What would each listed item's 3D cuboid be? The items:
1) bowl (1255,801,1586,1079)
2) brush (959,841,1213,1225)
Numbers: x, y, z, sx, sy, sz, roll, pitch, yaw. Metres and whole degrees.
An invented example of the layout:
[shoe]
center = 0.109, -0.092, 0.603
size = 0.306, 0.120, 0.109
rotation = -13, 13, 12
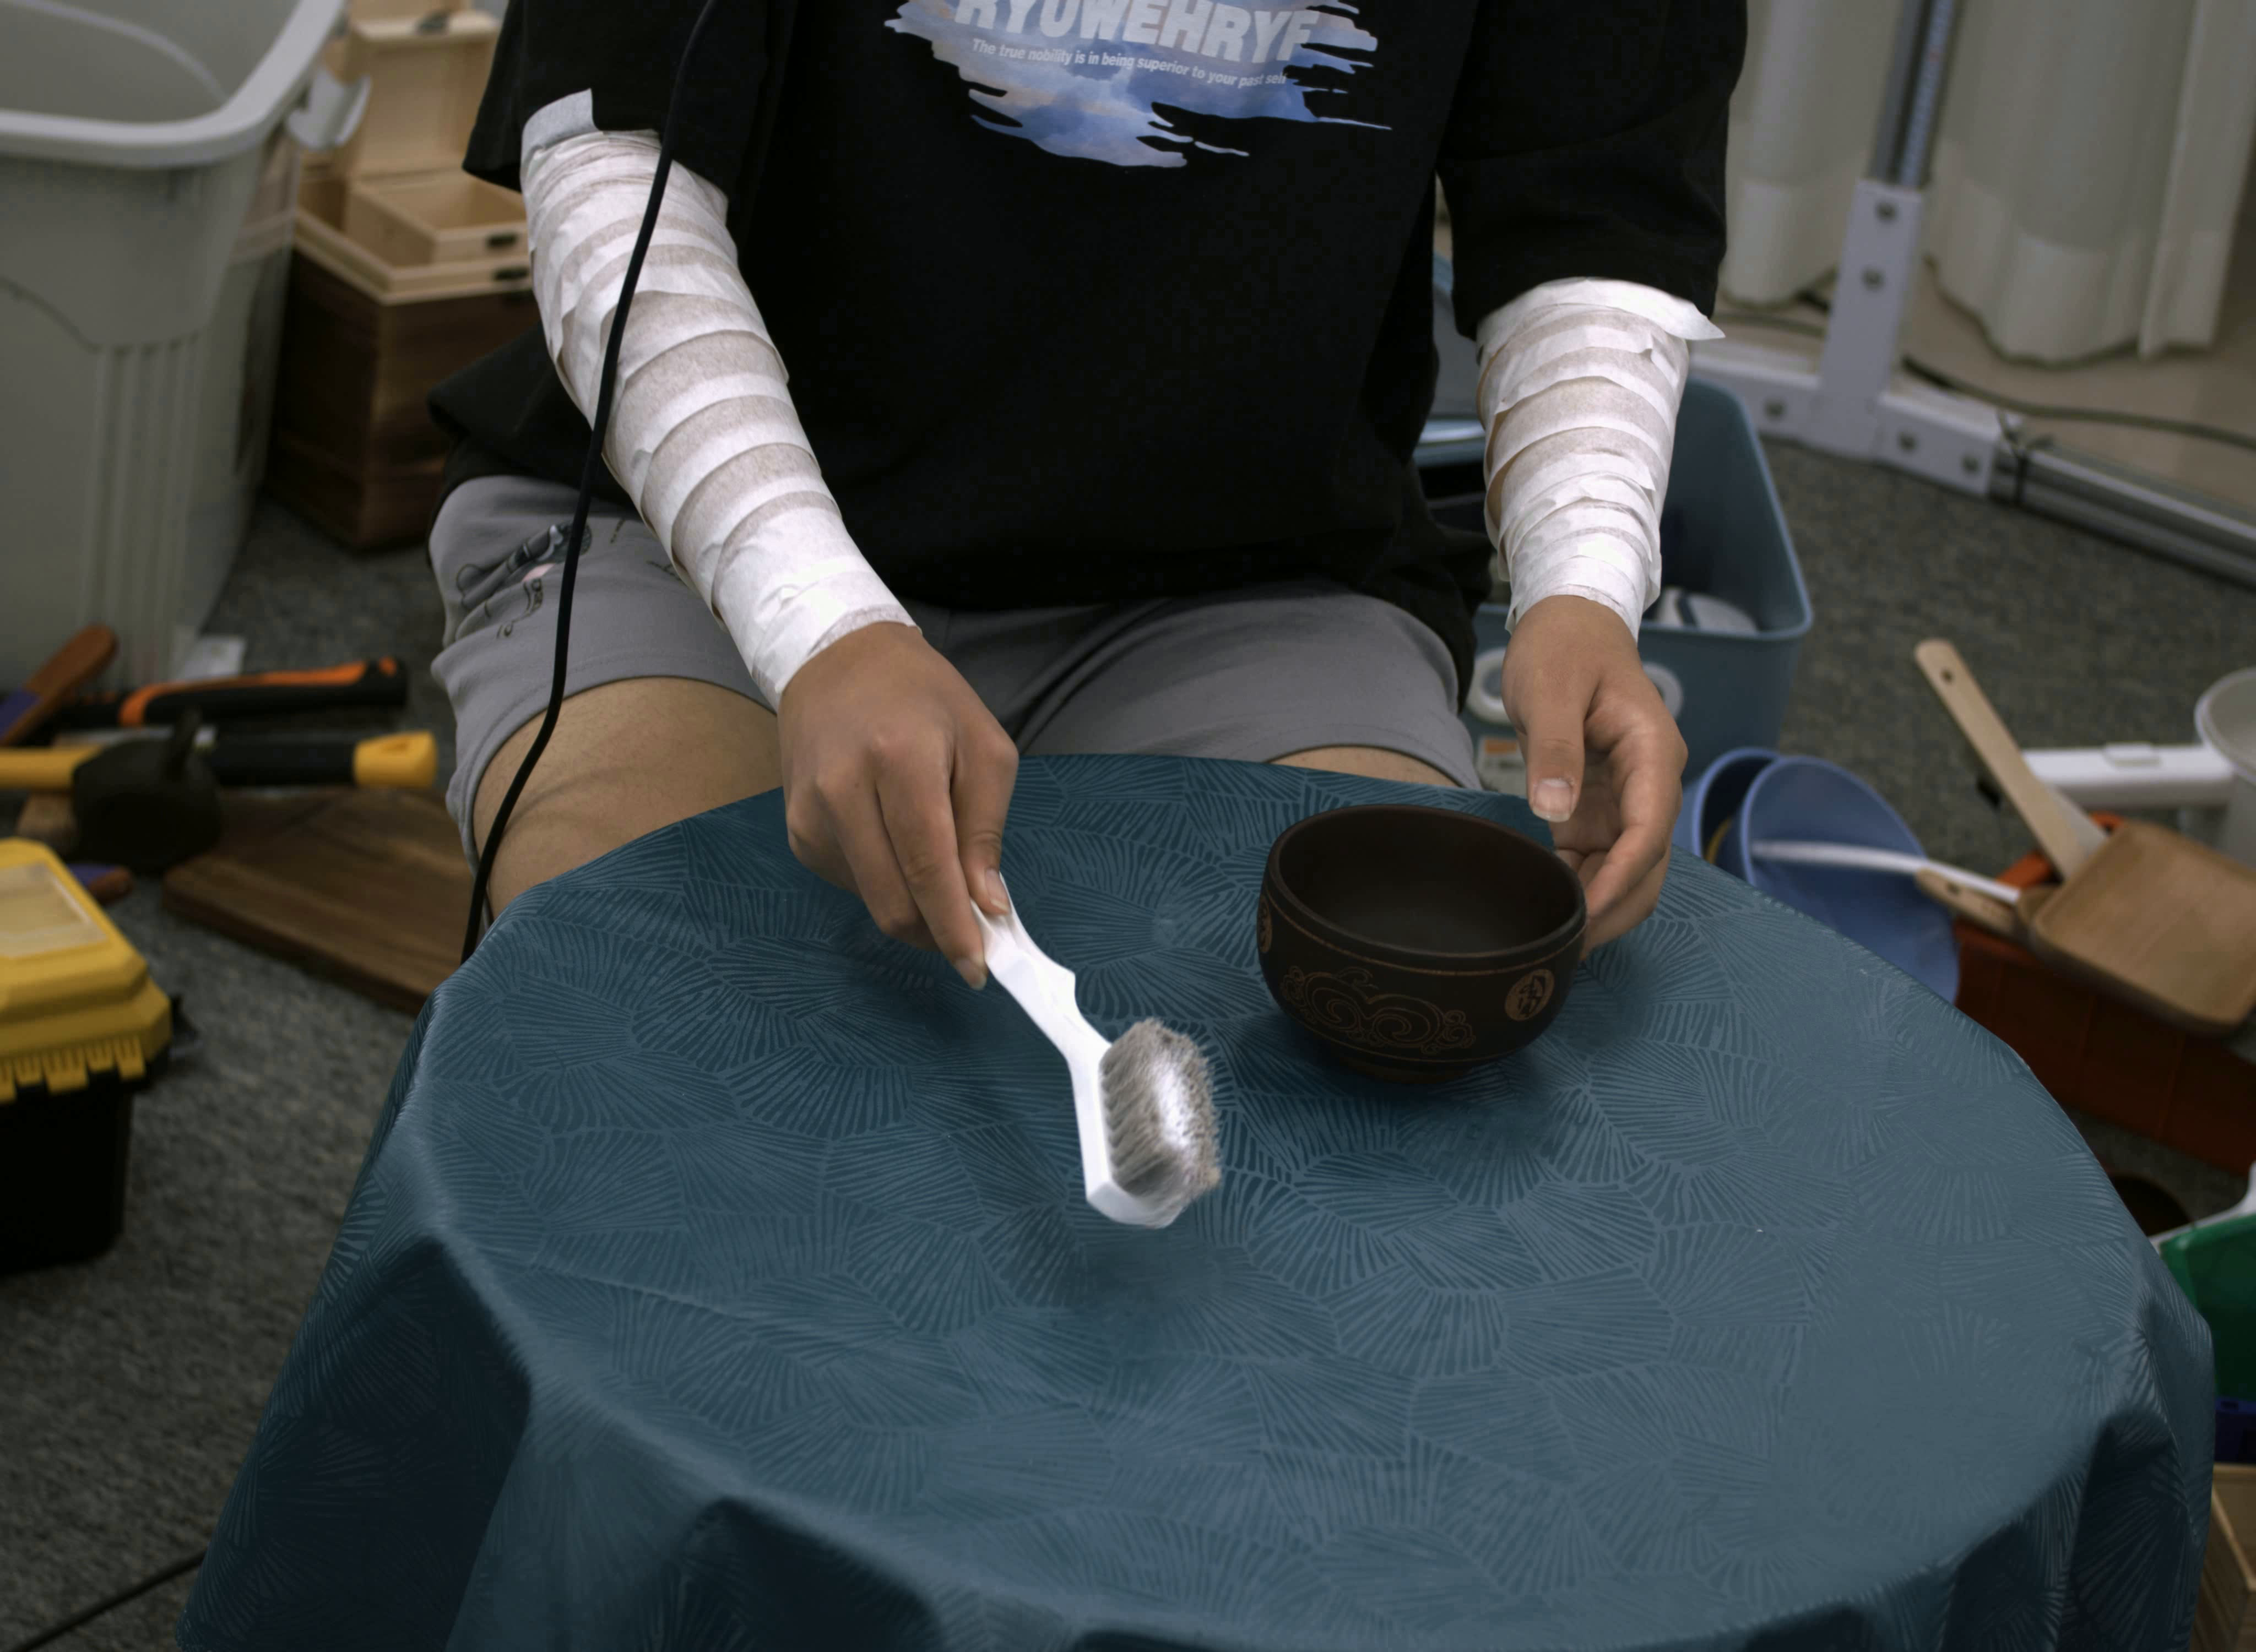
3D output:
[bowl]
center = 0.102, 0.047, 1.898
size = 0.117, 0.069, 0.119
rotation = 4, 25, -2
[brush]
center = -0.015, 0.054, 1.815
size = 0.034, 0.050, 0.246
rotation = 26, 20, -26
